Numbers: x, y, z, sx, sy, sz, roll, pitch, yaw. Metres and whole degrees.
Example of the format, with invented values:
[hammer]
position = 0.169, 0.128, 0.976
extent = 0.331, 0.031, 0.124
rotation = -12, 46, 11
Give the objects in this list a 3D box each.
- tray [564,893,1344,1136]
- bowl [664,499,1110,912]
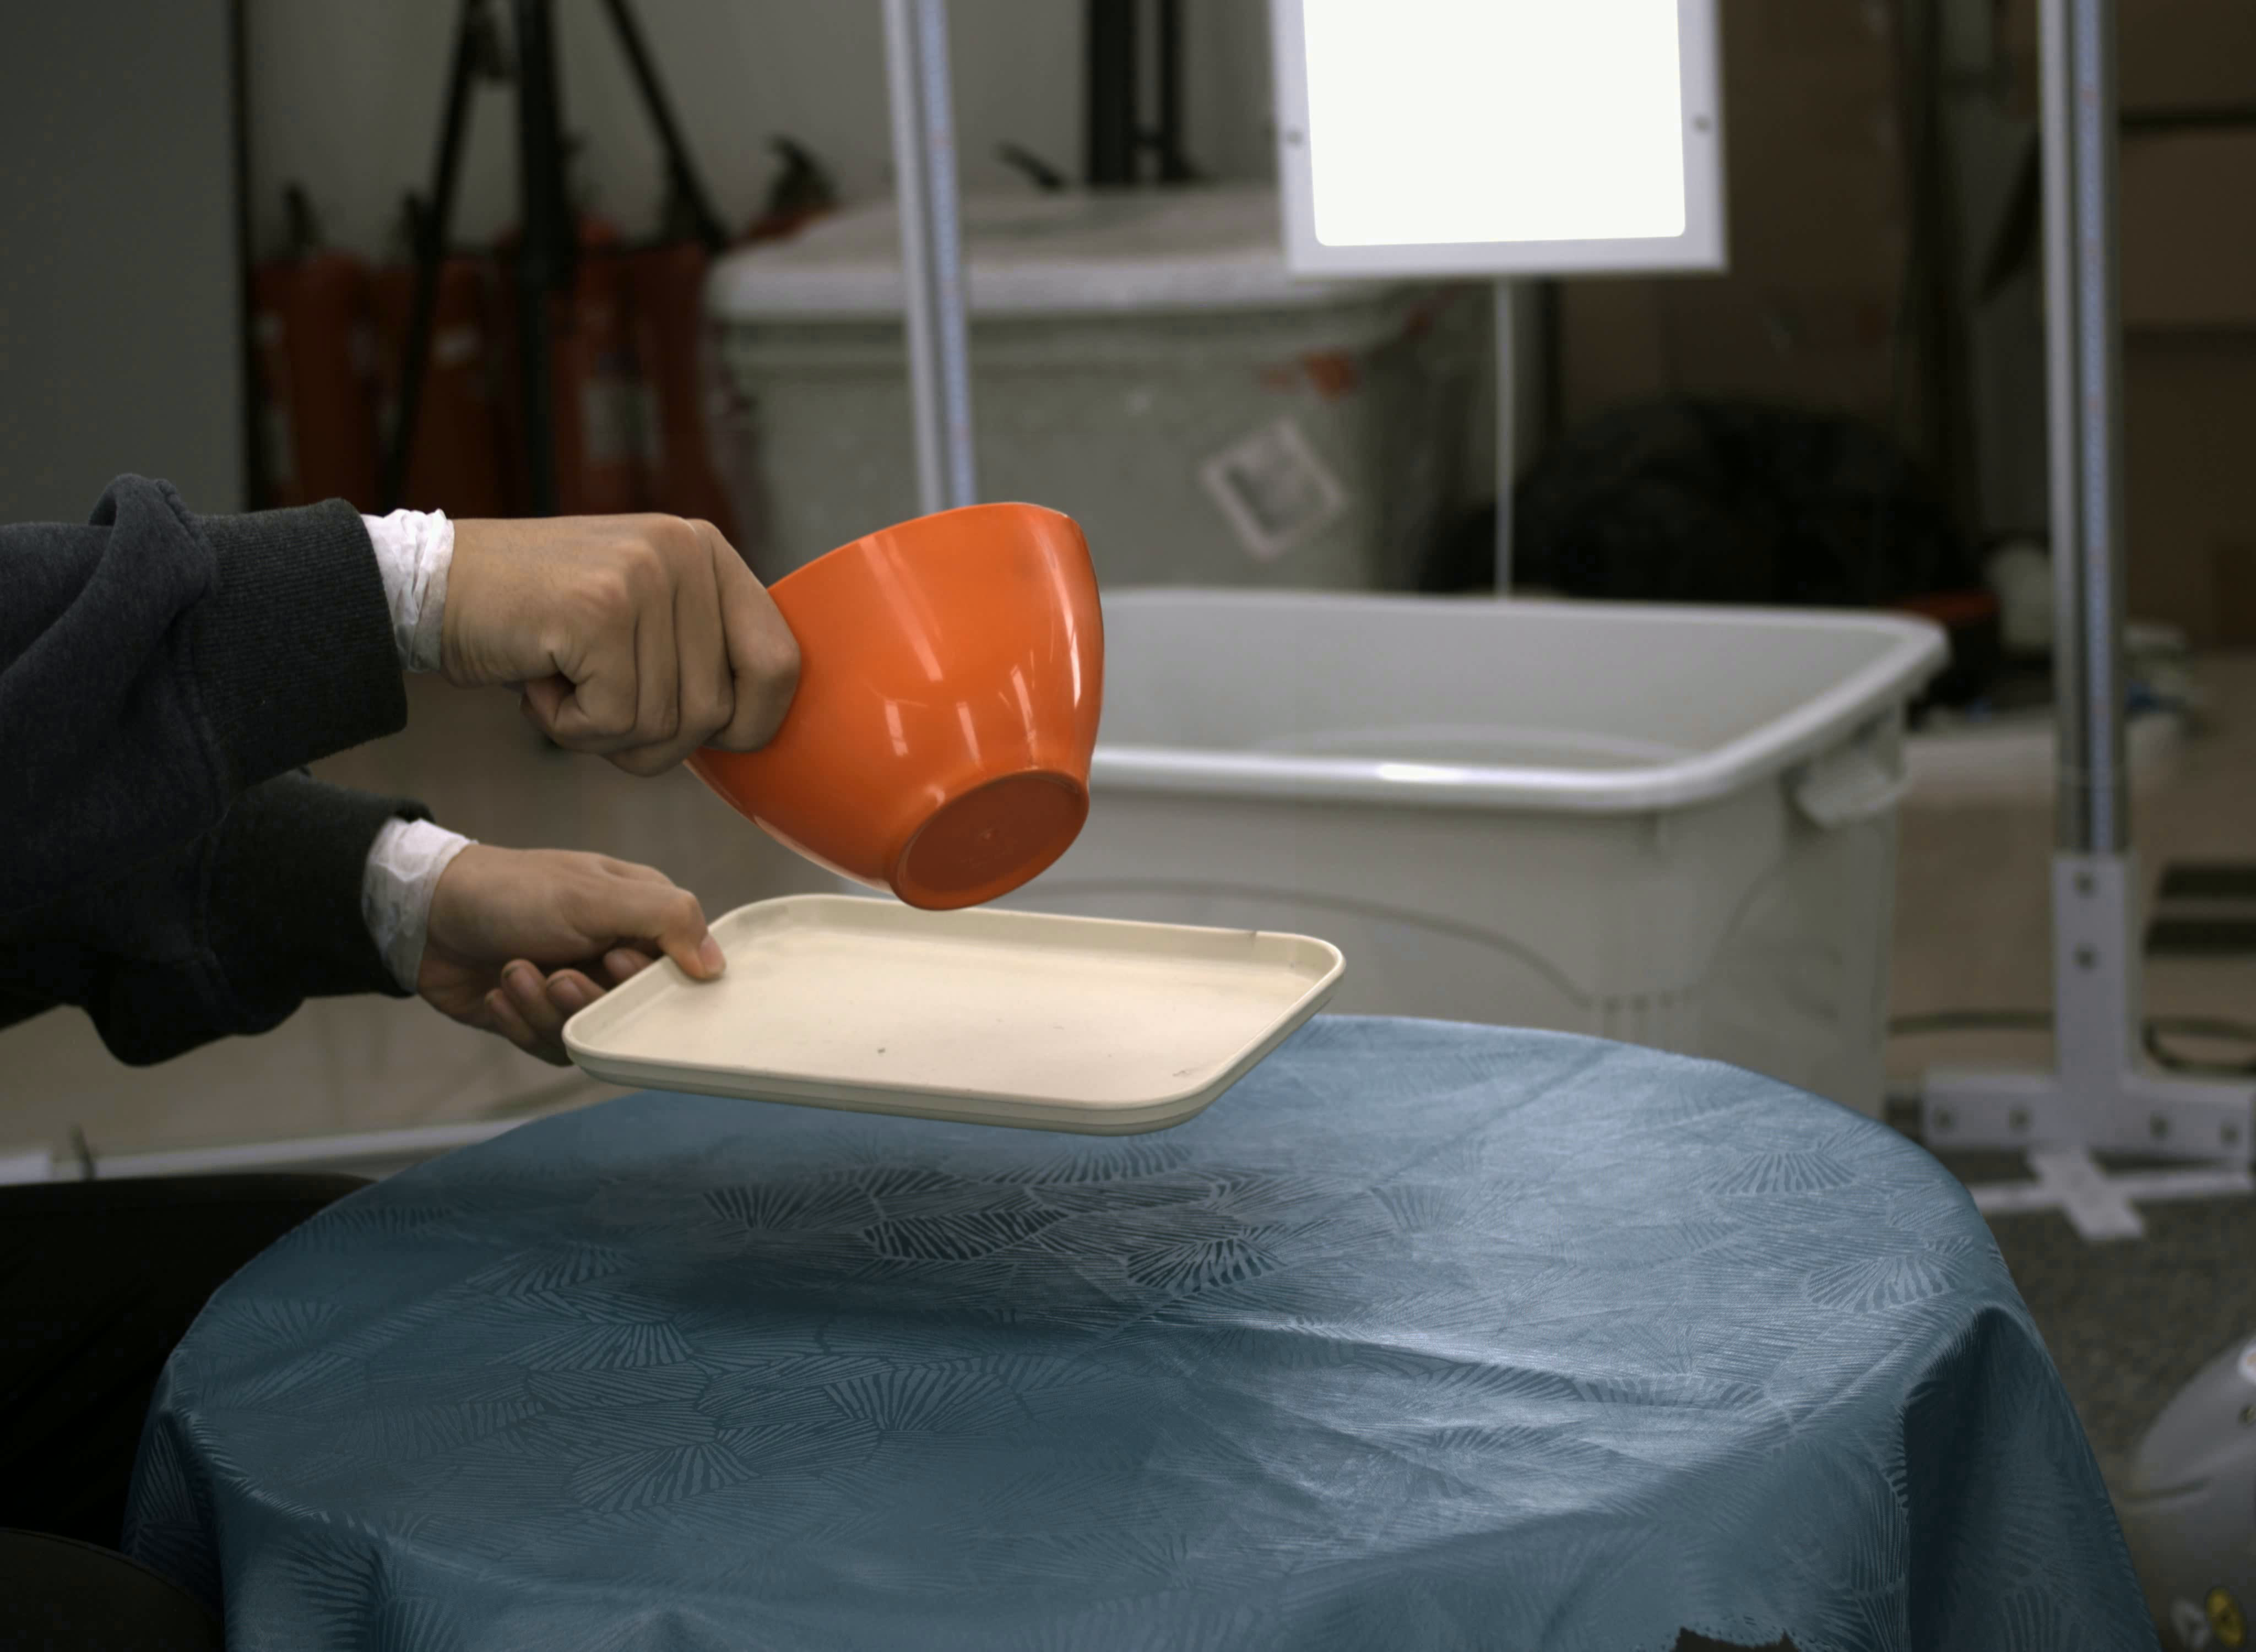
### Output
[tray]
position = -0.058, 0.063, 1.870
extent = 0.243, 0.017, 0.168
rotation = 4, 20, 26
[bowl]
position = -0.061, -0.028, 1.704
extent = 0.145, 0.150, 0.105
rotation = -10, 55, -25
